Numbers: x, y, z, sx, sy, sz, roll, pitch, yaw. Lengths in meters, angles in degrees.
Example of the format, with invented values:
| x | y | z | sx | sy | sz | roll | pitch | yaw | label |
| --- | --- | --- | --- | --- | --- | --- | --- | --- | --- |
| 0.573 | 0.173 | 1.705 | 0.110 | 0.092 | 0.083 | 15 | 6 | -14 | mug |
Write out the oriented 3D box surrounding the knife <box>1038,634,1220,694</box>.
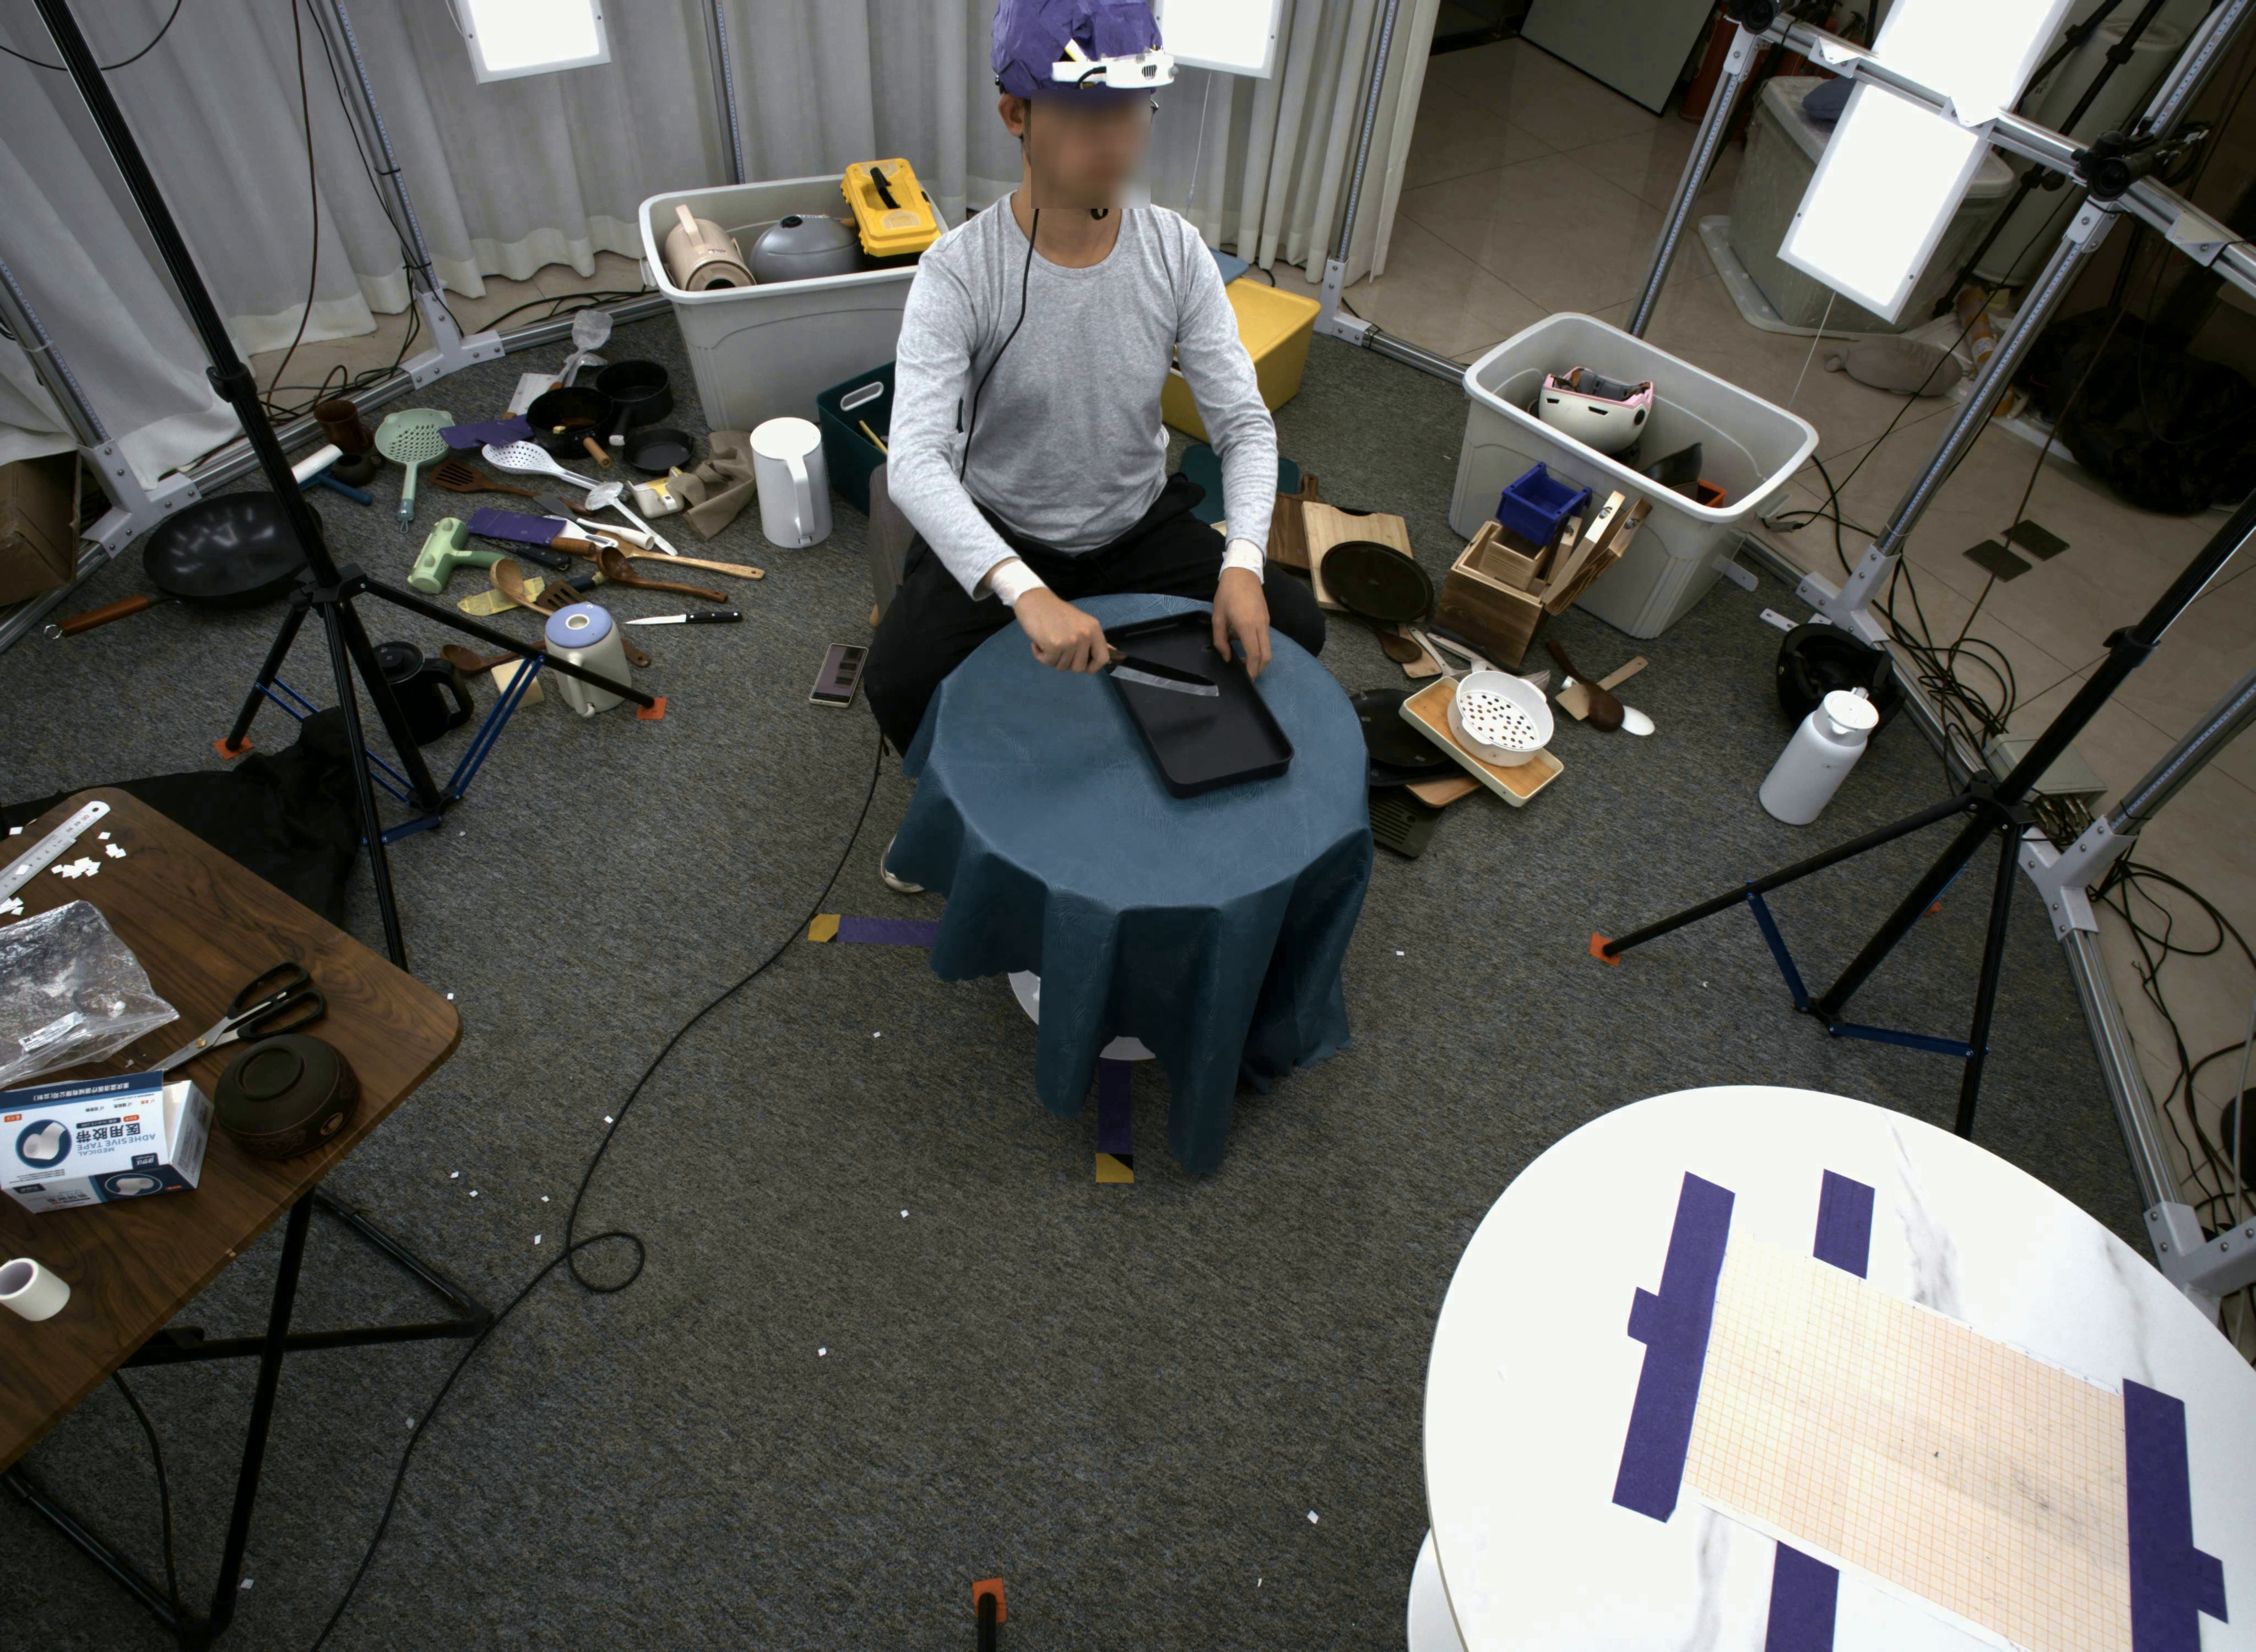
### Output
| x | y | z | sx | sy | sz | roll | pitch | yaw | label |
| --- | --- | --- | --- | --- | --- | --- | --- | --- | --- |
| 0.005 | -0.214 | 1.729 | 0.286 | 0.049 | 0.020 | 12 | 54 | -27 | knife |

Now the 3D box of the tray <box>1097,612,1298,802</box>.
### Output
| x | y | z | sx | sy | sz | roll | pitch | yaw | label |
| --- | --- | --- | --- | --- | --- | --- | --- | --- | --- |
| 0.091 | -0.173 | 1.801 | 0.184 | 0.036 | 0.325 | -15 | 51 | -16 | tray |
